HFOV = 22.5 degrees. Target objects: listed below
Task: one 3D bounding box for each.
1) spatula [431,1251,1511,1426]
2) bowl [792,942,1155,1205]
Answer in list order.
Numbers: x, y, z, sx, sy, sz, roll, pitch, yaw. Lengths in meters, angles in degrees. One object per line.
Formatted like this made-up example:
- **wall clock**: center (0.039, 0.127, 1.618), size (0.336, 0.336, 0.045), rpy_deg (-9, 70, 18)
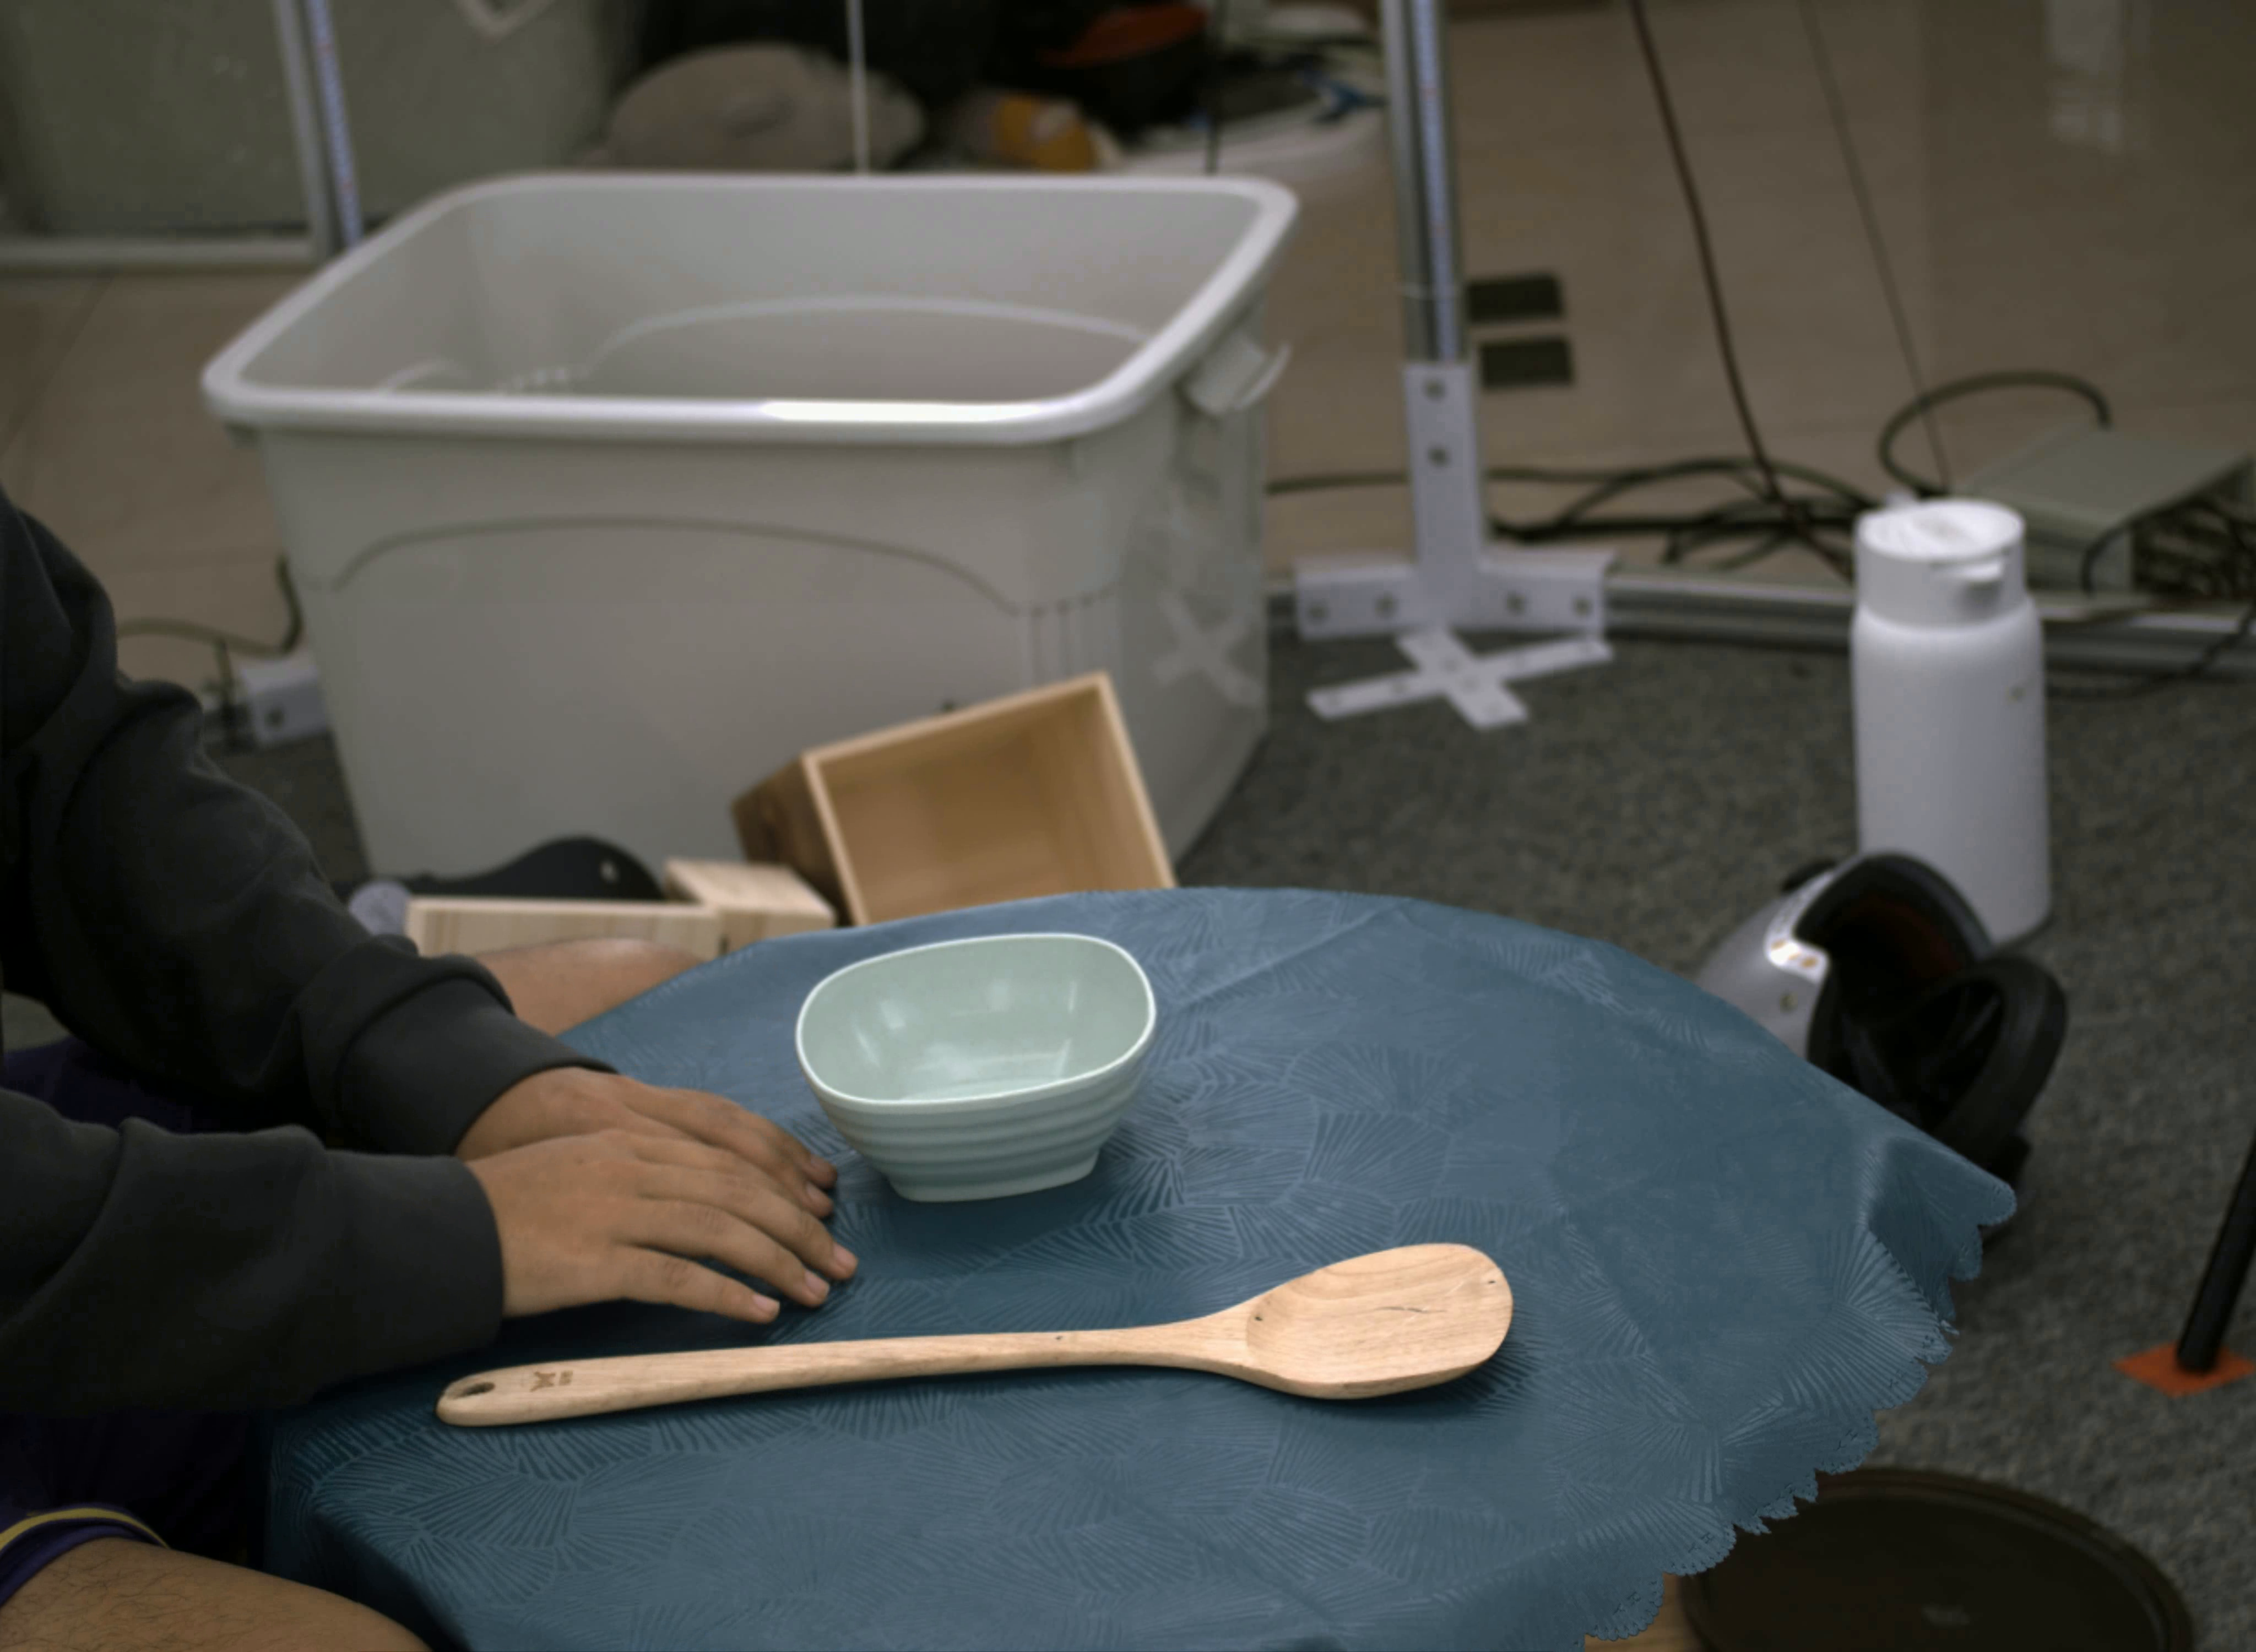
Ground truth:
- **spatula**: center (-0.058, 0.191, 2.027), size (0.390, 0.019, 0.094), rpy_deg (-4, 23, 4)
- **bowl**: center (-0.057, 0.100, 2.180), size (0.151, 0.059, 0.149), rpy_deg (-4, 24, 2)
